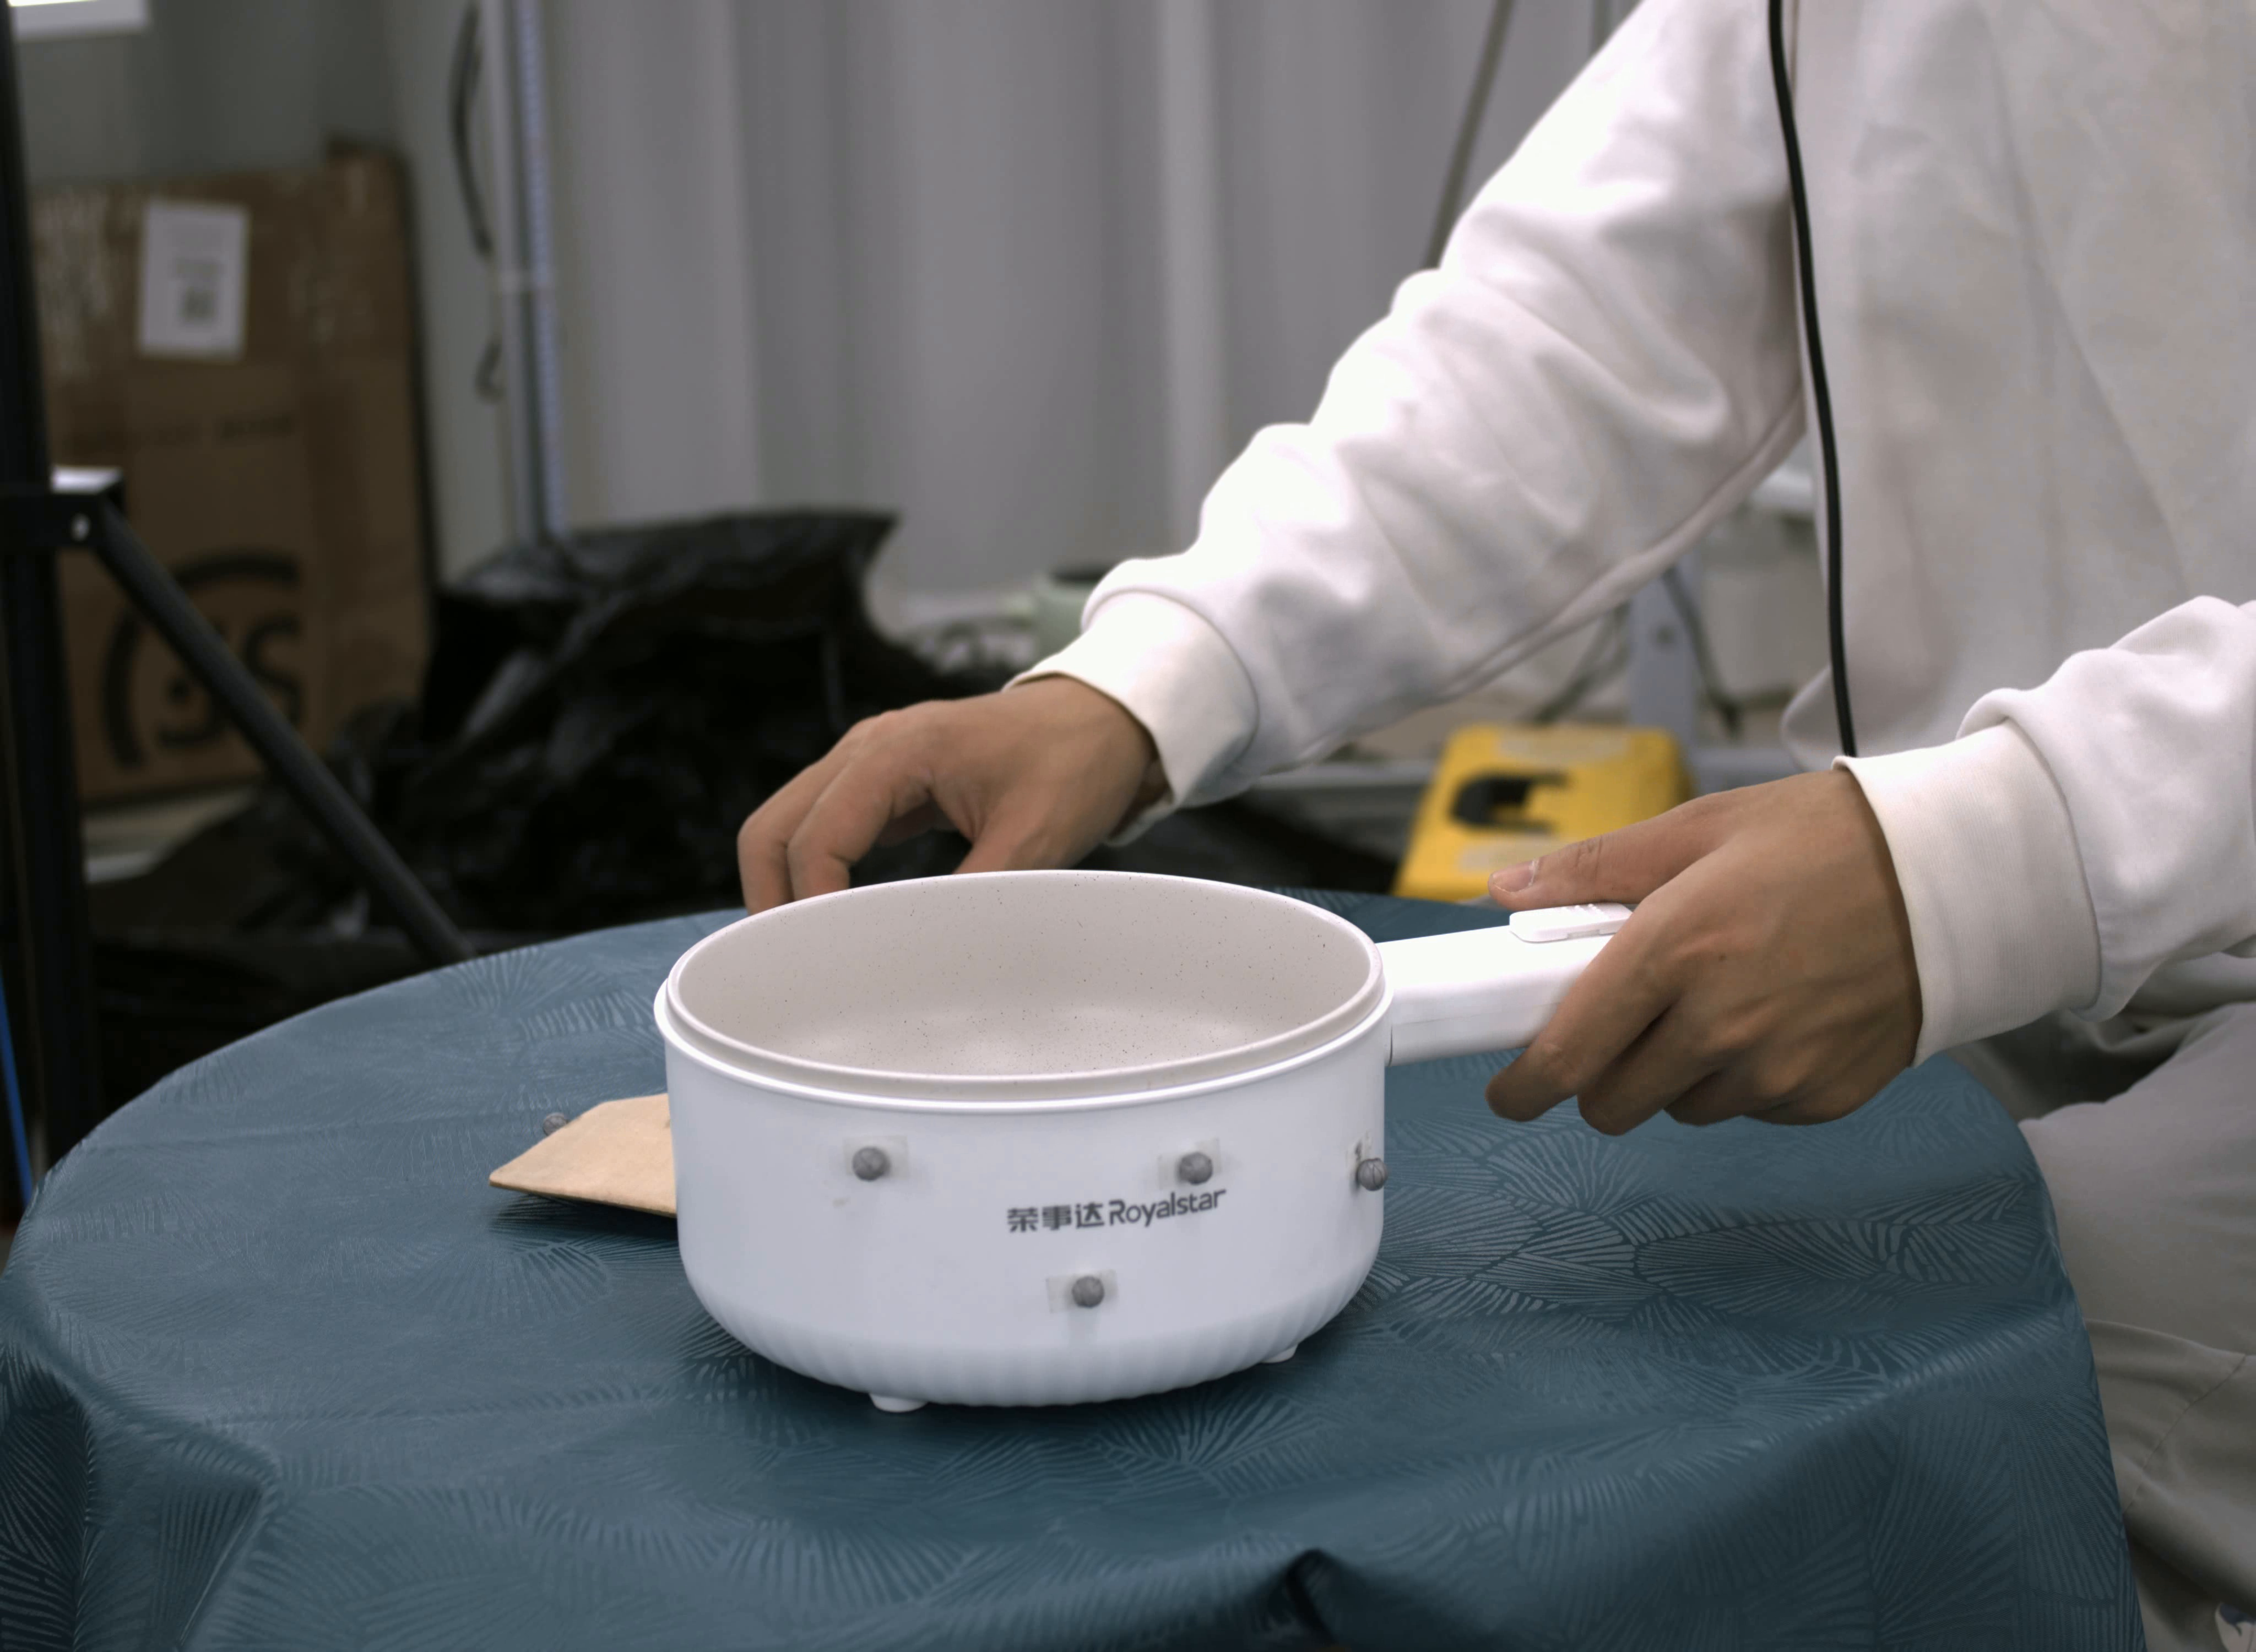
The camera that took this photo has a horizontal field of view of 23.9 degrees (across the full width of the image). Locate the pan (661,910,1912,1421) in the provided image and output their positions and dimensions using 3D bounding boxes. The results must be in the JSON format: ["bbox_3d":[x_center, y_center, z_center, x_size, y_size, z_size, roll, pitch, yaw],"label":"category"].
[{"bbox_3d":[0.047,0.089,1.471,0.349,0.102,0.204,-4,12,-15],"label":"pan"}]
